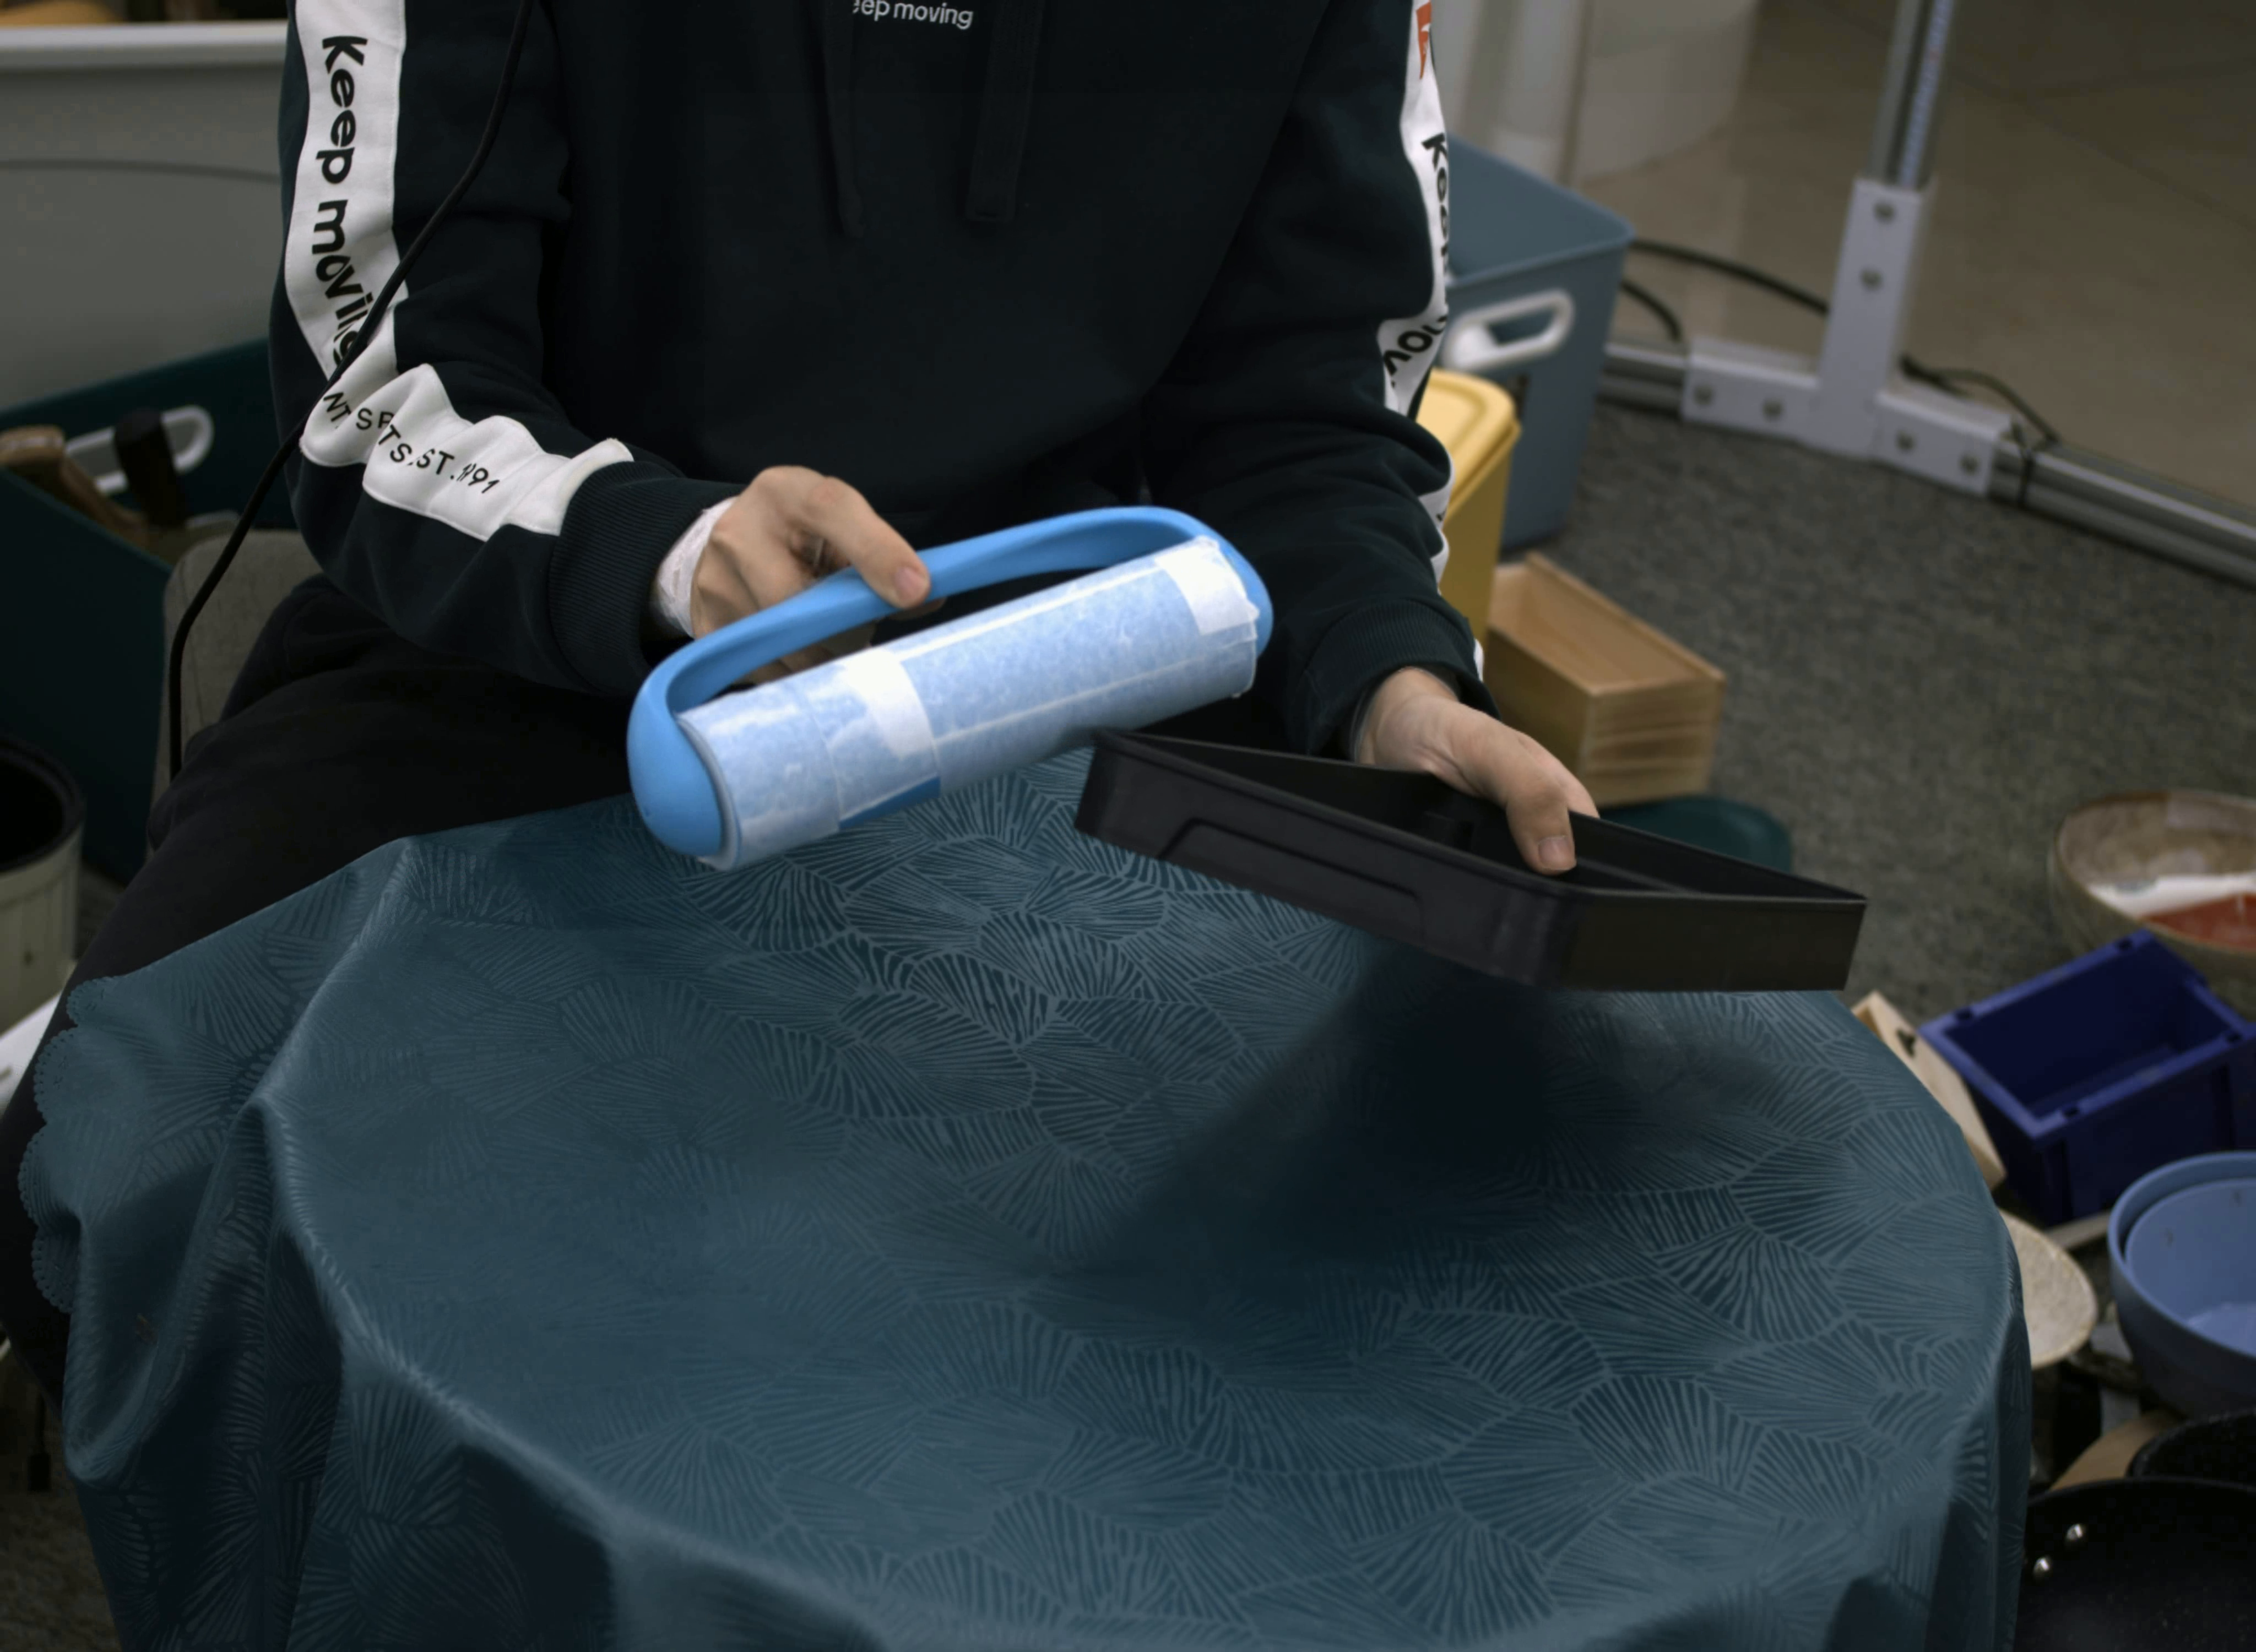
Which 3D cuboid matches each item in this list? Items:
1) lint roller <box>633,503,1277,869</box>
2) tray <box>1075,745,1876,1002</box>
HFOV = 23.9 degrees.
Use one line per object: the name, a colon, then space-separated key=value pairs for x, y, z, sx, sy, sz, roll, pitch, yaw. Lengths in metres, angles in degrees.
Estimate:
lint roller: x=-0.083 y=-0.057 z=1.775 sx=0.228 sy=0.067 sz=0.181 roll=-22 pitch=24 yaw=-25
tray: x=0.123 y=0.016 z=1.809 sx=0.185 sy=0.037 sz=0.316 roll=17 pitch=7 yaw=25
